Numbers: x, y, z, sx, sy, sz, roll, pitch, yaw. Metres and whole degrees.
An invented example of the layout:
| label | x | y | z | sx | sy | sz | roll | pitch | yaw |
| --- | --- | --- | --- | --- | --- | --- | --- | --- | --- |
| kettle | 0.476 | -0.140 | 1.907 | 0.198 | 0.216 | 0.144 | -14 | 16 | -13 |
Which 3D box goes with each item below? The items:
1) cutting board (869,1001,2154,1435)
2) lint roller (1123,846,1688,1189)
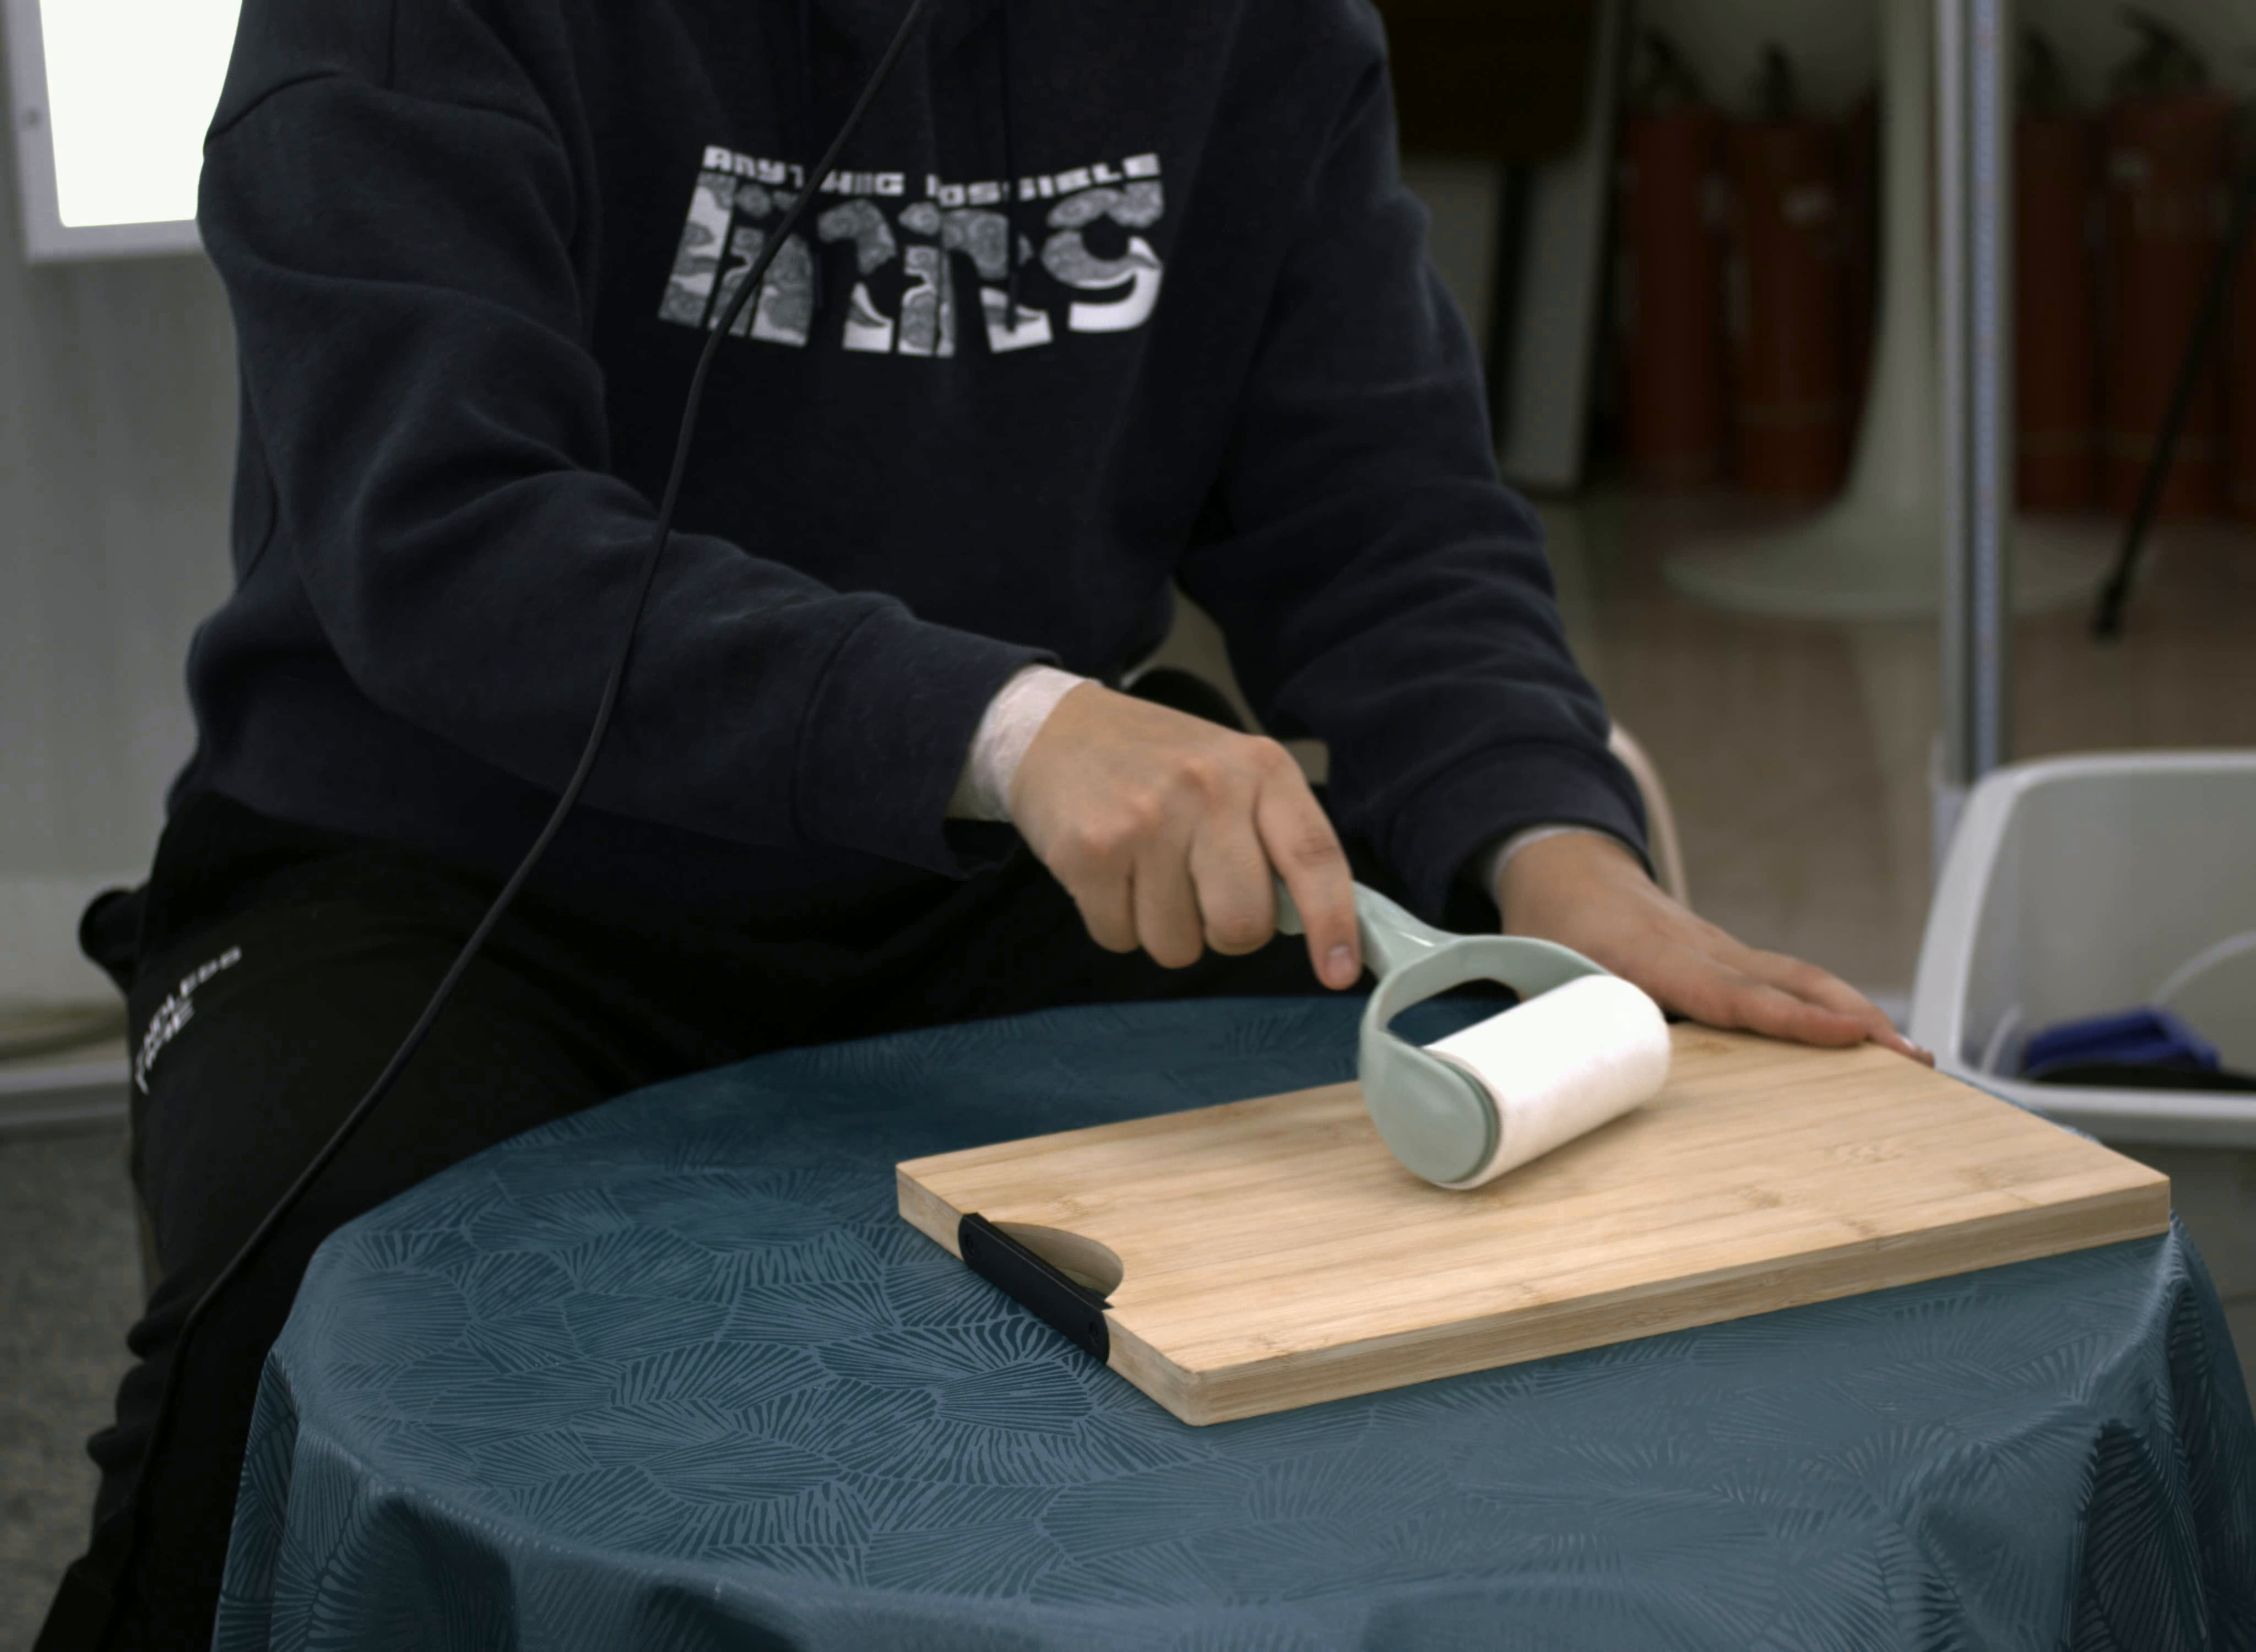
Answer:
| label | x | y | z | sx | sy | sz | roll | pitch | yaw |
| --- | --- | --- | --- | --- | --- | --- | --- | --- | --- |
| cutting board | 0.120 | 0.119 | 1.715 | 0.341 | 0.024 | 0.253 | -10 | 14 | -22 |
| lint roller | 0.081 | 0.045 | 1.770 | 0.199 | 0.049 | 0.114 | 32 | 34 | 28 |
